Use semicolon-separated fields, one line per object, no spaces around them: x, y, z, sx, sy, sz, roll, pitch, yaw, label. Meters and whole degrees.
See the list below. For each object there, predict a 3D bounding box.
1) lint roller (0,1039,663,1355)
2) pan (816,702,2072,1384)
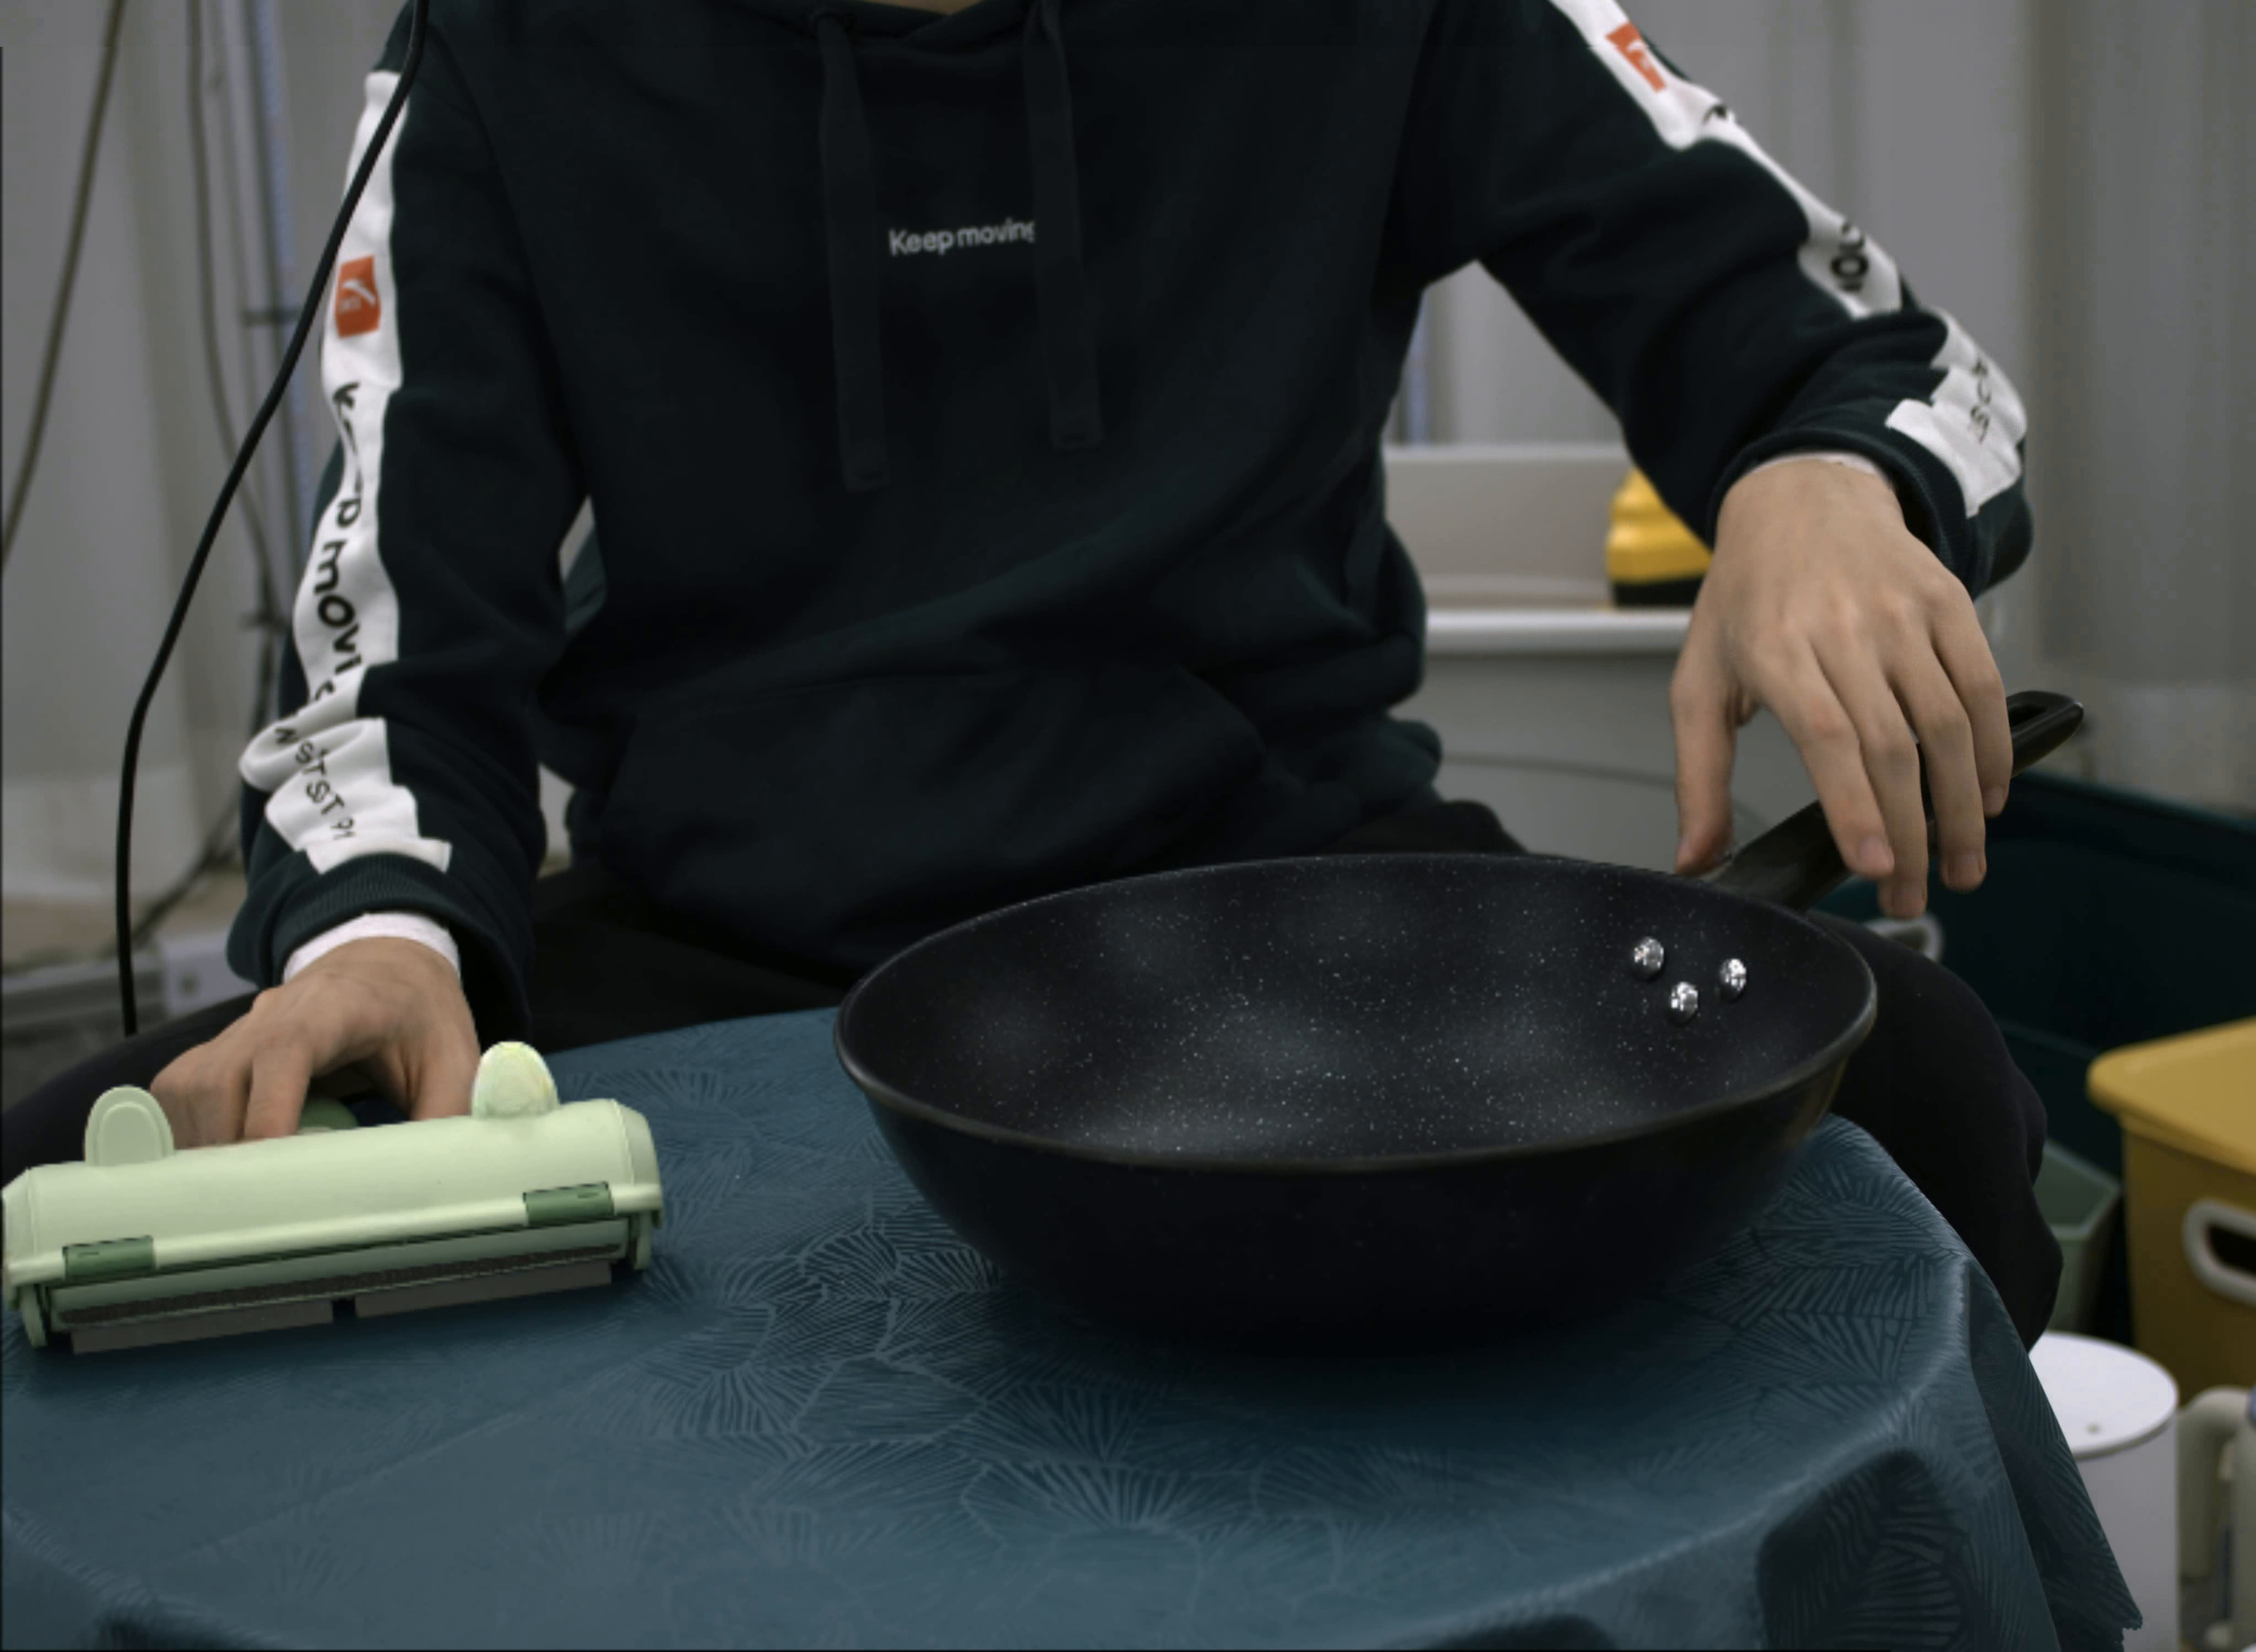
-0.252;0.096;1.694;0.198;0.081;0.185;-7;20;-12;lint roller
0.126;0.065;1.671;0.476;0.111;0.312;-16;21;-38;pan
